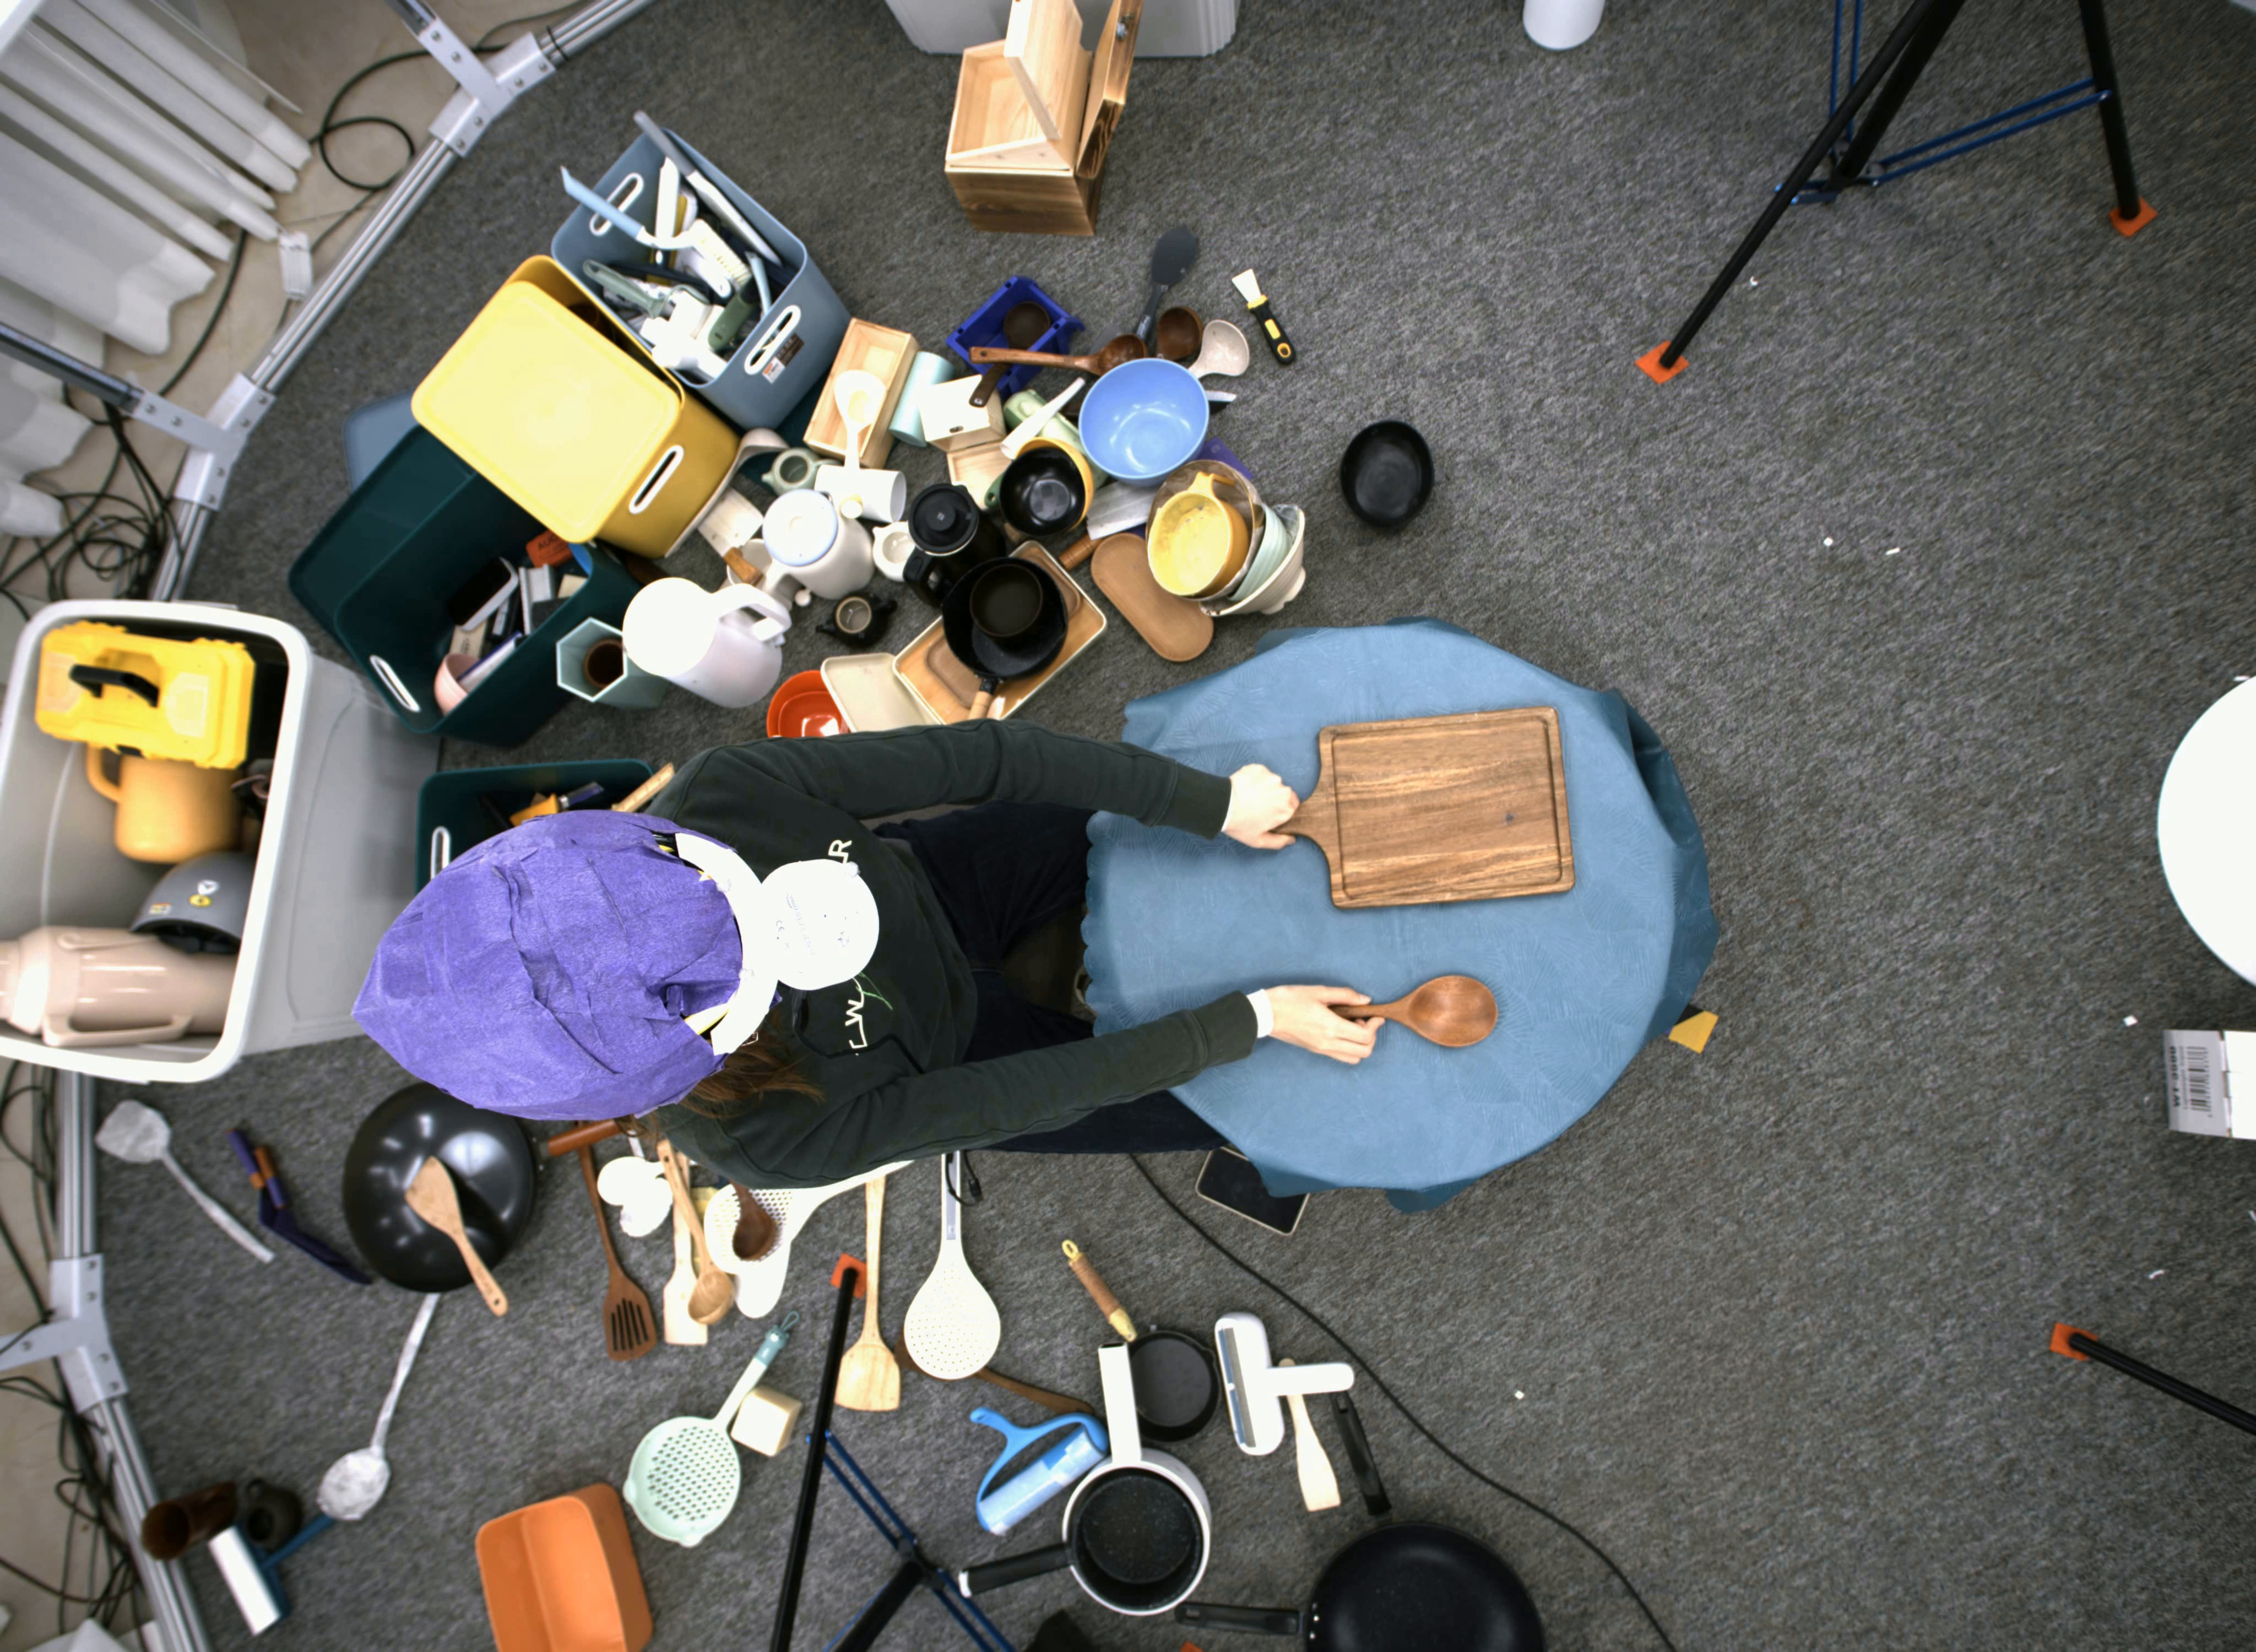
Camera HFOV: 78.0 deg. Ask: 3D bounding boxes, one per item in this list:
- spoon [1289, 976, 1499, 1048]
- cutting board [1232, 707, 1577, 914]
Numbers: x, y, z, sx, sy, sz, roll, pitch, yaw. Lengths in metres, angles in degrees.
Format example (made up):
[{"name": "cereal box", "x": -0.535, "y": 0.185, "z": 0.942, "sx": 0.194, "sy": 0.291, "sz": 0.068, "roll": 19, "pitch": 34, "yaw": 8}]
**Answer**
[{"name": "spoon", "x": 0.277, "y": 0.193, "z": 1.446, "sx": 0.217, "sy": 0.017, "sz": 0.075, "roll": -2, "pitch": 88, "yaw": 10}, {"name": "cutting board", "x": 0.286, "y": -0.013, "z": 1.457, "sx": 0.354, "sy": 0.023, "sz": 0.200, "roll": -5, "pitch": 86, "yaw": 9}]
